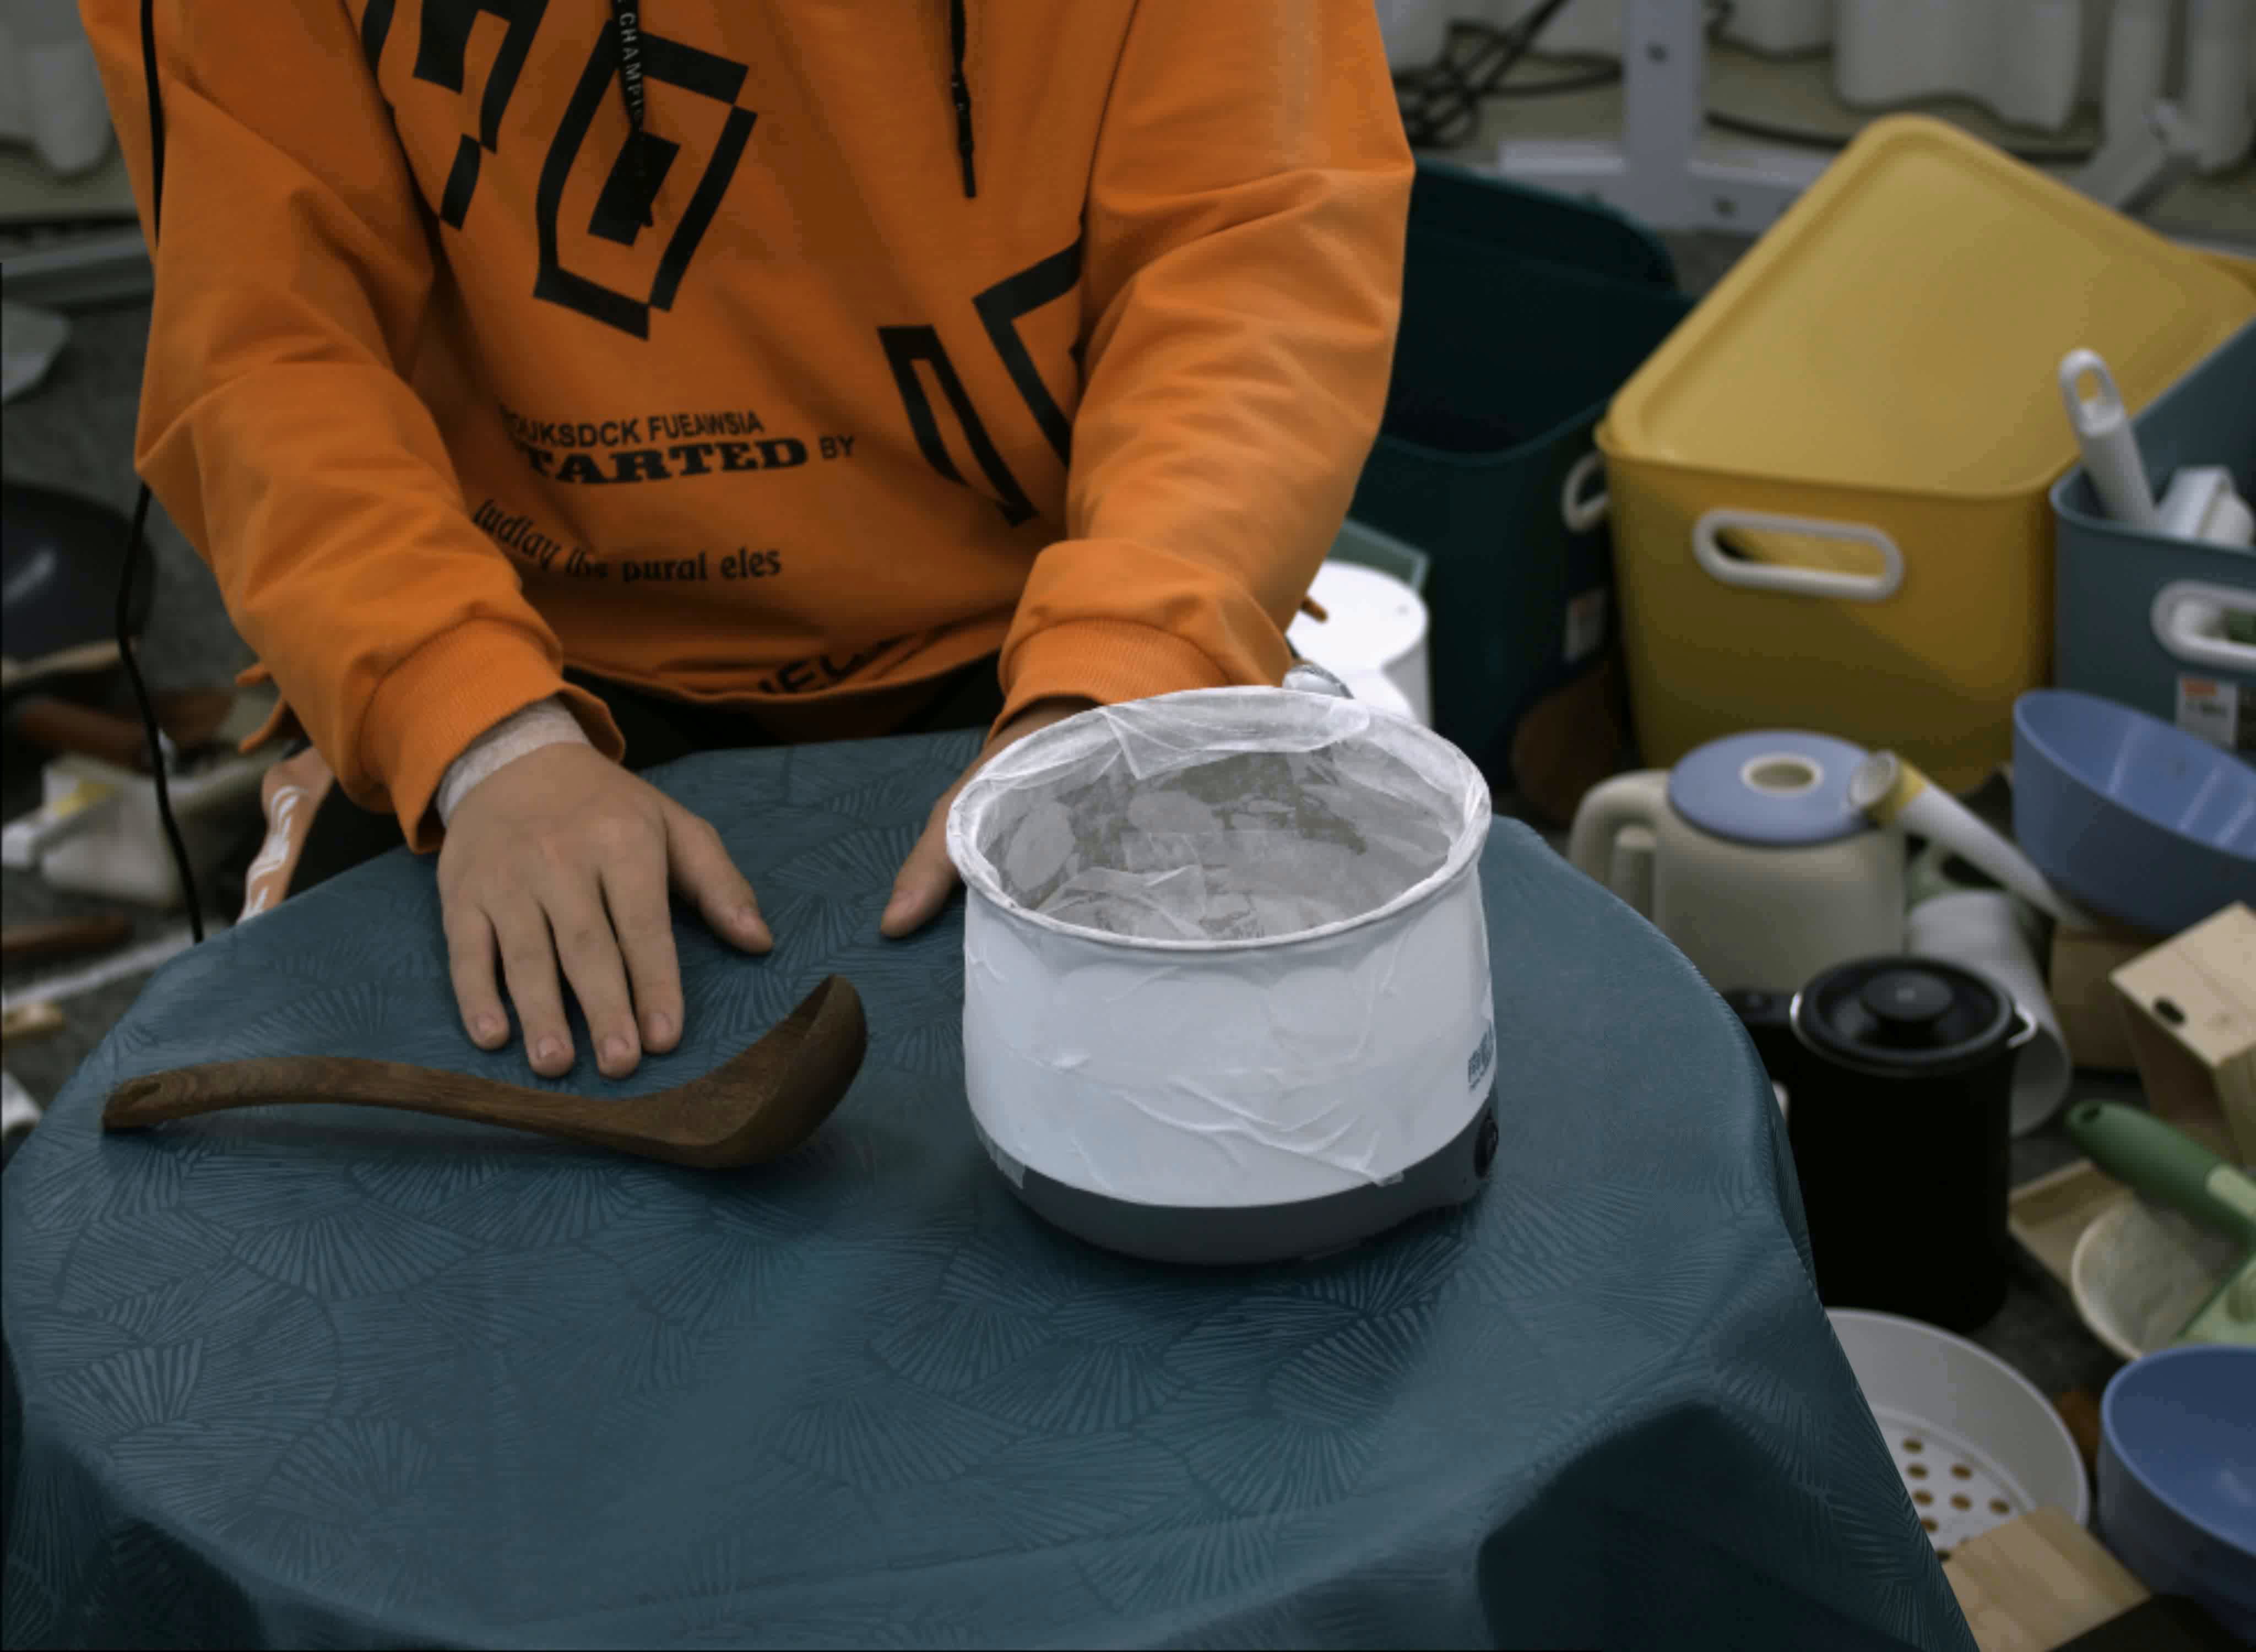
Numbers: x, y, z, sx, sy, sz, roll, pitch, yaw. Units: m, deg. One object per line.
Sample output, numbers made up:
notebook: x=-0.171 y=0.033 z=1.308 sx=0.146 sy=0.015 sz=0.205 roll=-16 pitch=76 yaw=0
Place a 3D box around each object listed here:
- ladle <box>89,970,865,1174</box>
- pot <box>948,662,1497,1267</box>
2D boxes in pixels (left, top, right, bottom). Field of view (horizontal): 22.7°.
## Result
ladle: x=-0.222 y=0.077 z=1.895 sx=0.272 sy=0.070 sz=0.077 roll=3 pitch=24 yaw=10
pot: x=0.041 y=0.038 z=1.871 sx=0.177 sy=0.135 sz=0.238 roll=6 pitch=29 yaw=16
